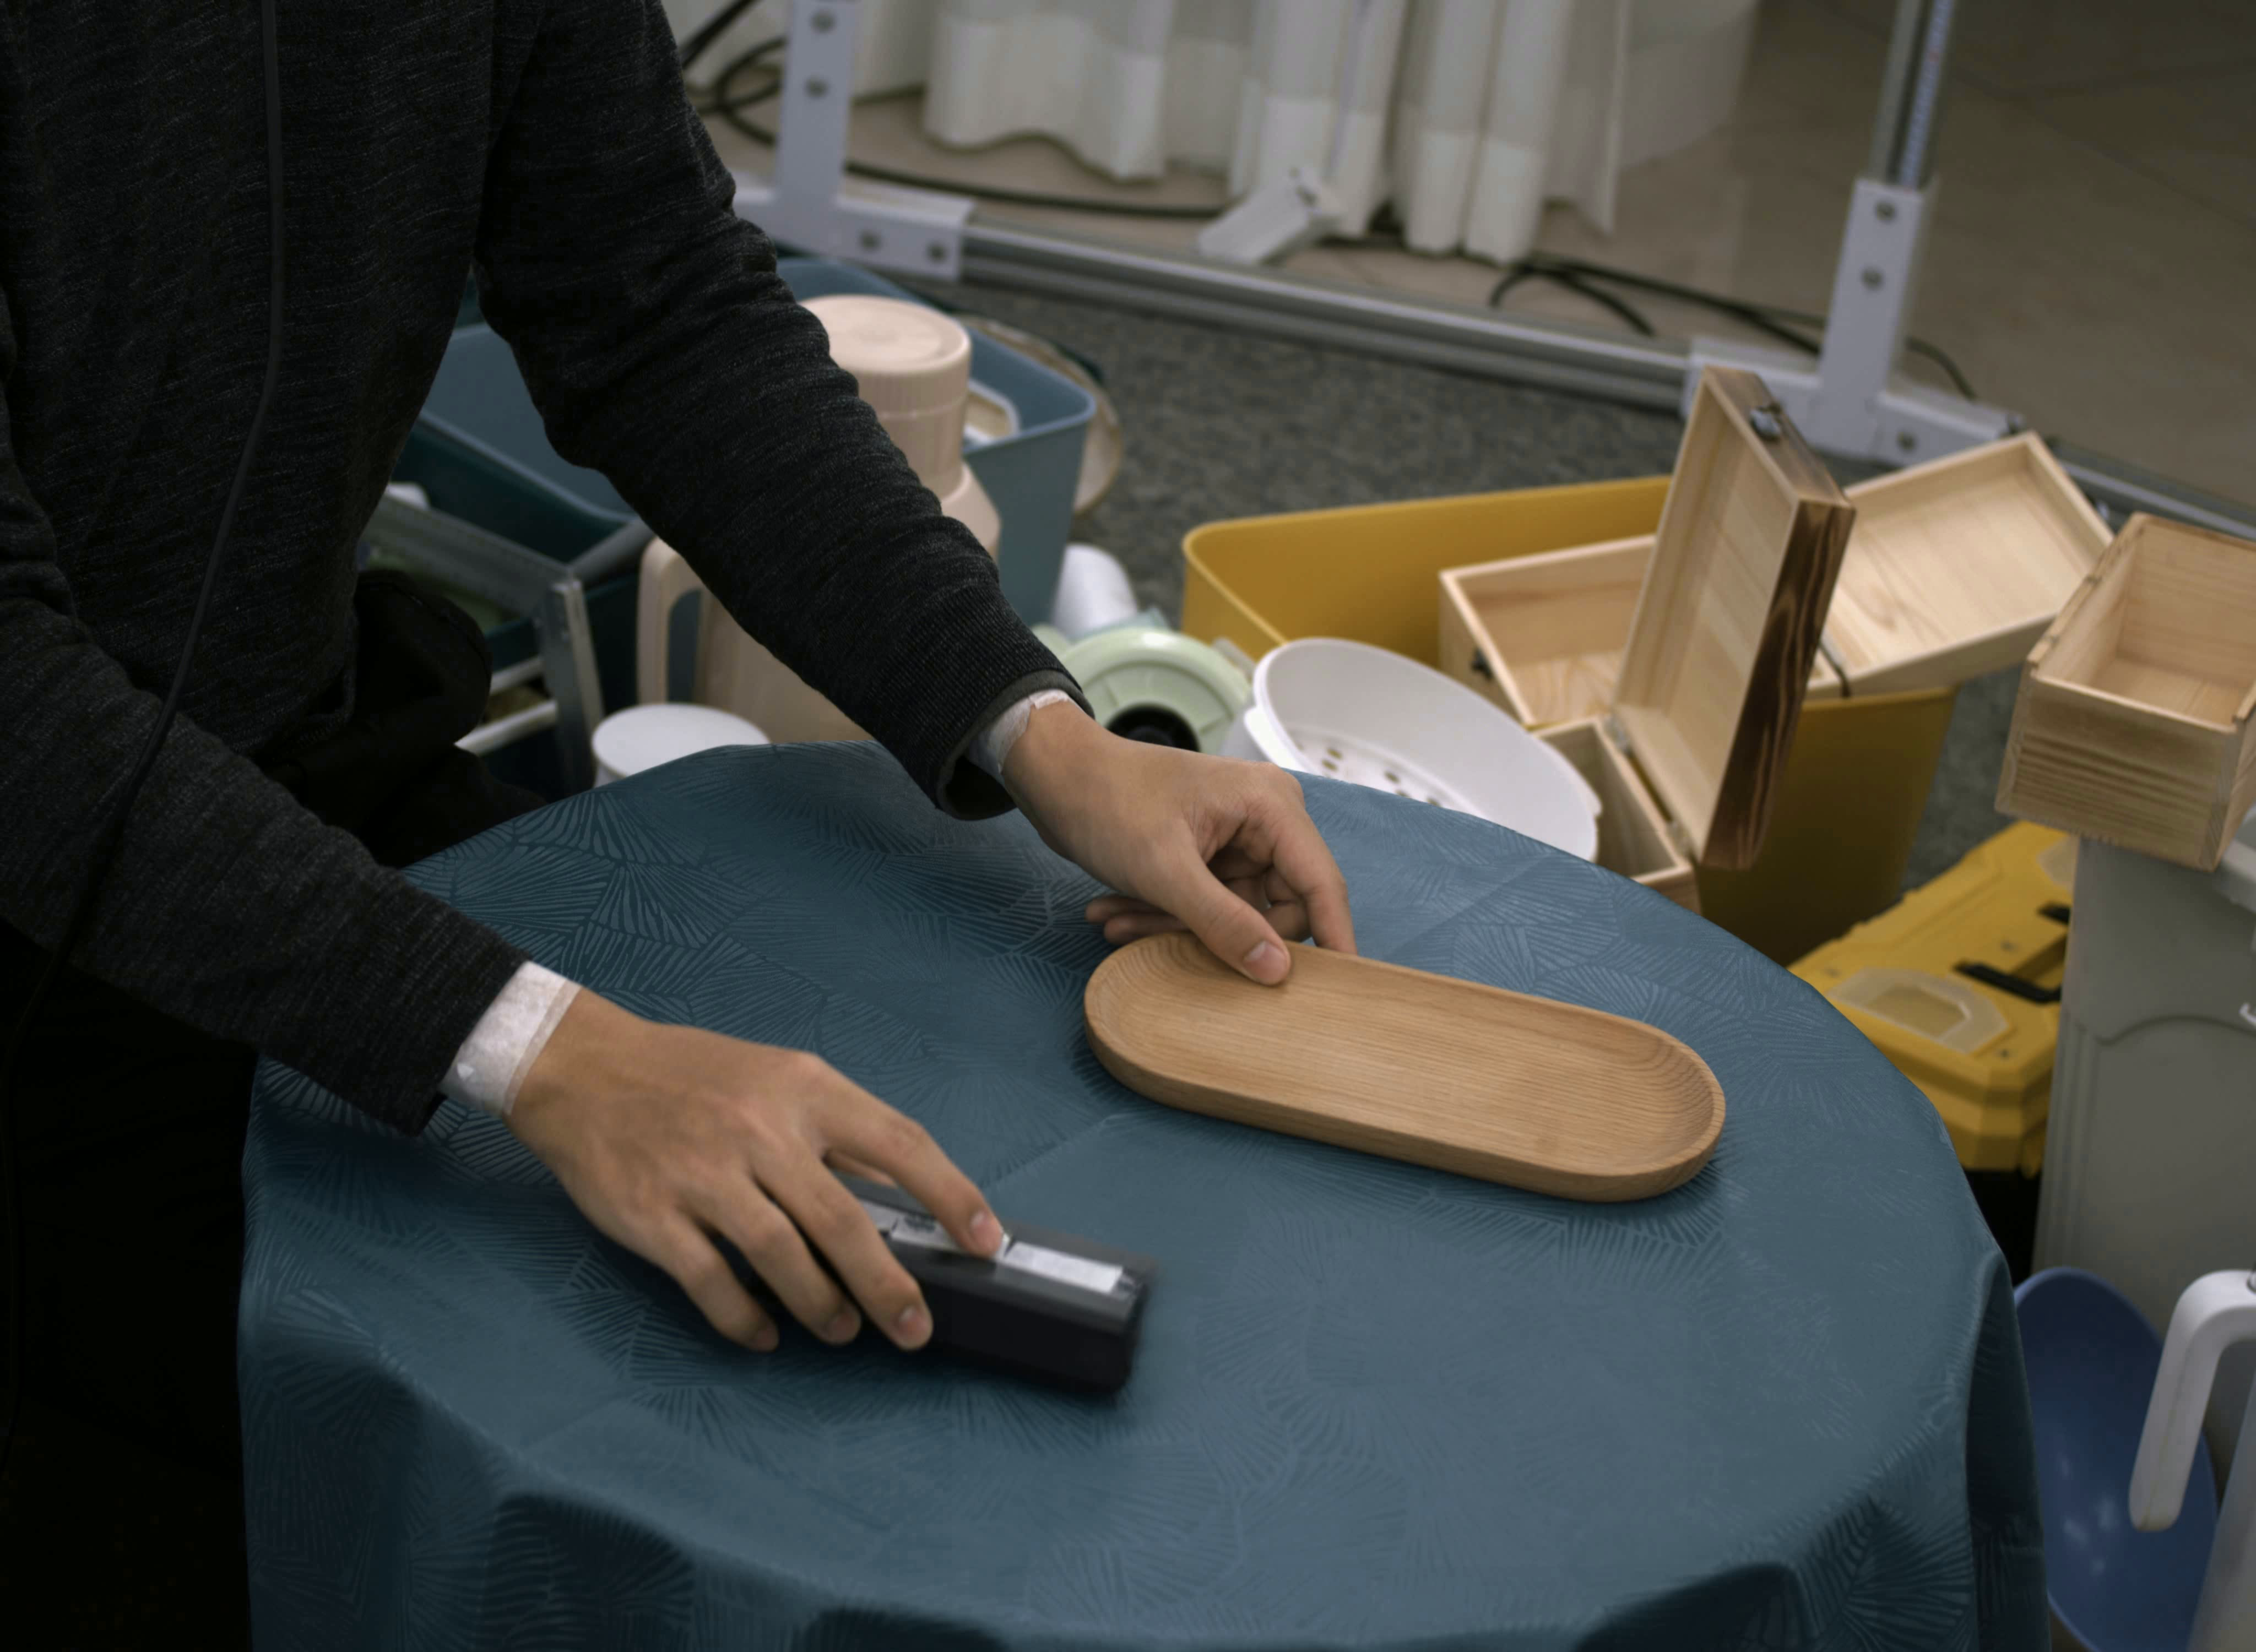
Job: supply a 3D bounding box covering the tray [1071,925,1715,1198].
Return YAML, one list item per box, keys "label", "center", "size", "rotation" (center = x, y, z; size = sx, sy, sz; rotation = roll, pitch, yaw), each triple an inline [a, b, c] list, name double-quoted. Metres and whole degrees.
- label: "tray"
  center: [0.092, 0.083, 1.875]
  size: [0.231, 0.020, 0.102]
  rotation: [11, 32, 12]

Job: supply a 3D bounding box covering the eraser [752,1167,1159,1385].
- label: "eraser"
  center: [-0.055, 0.143, 1.701]
  size: [0.125, 0.030, 0.053]
  rotation: [13, 22, 8]
